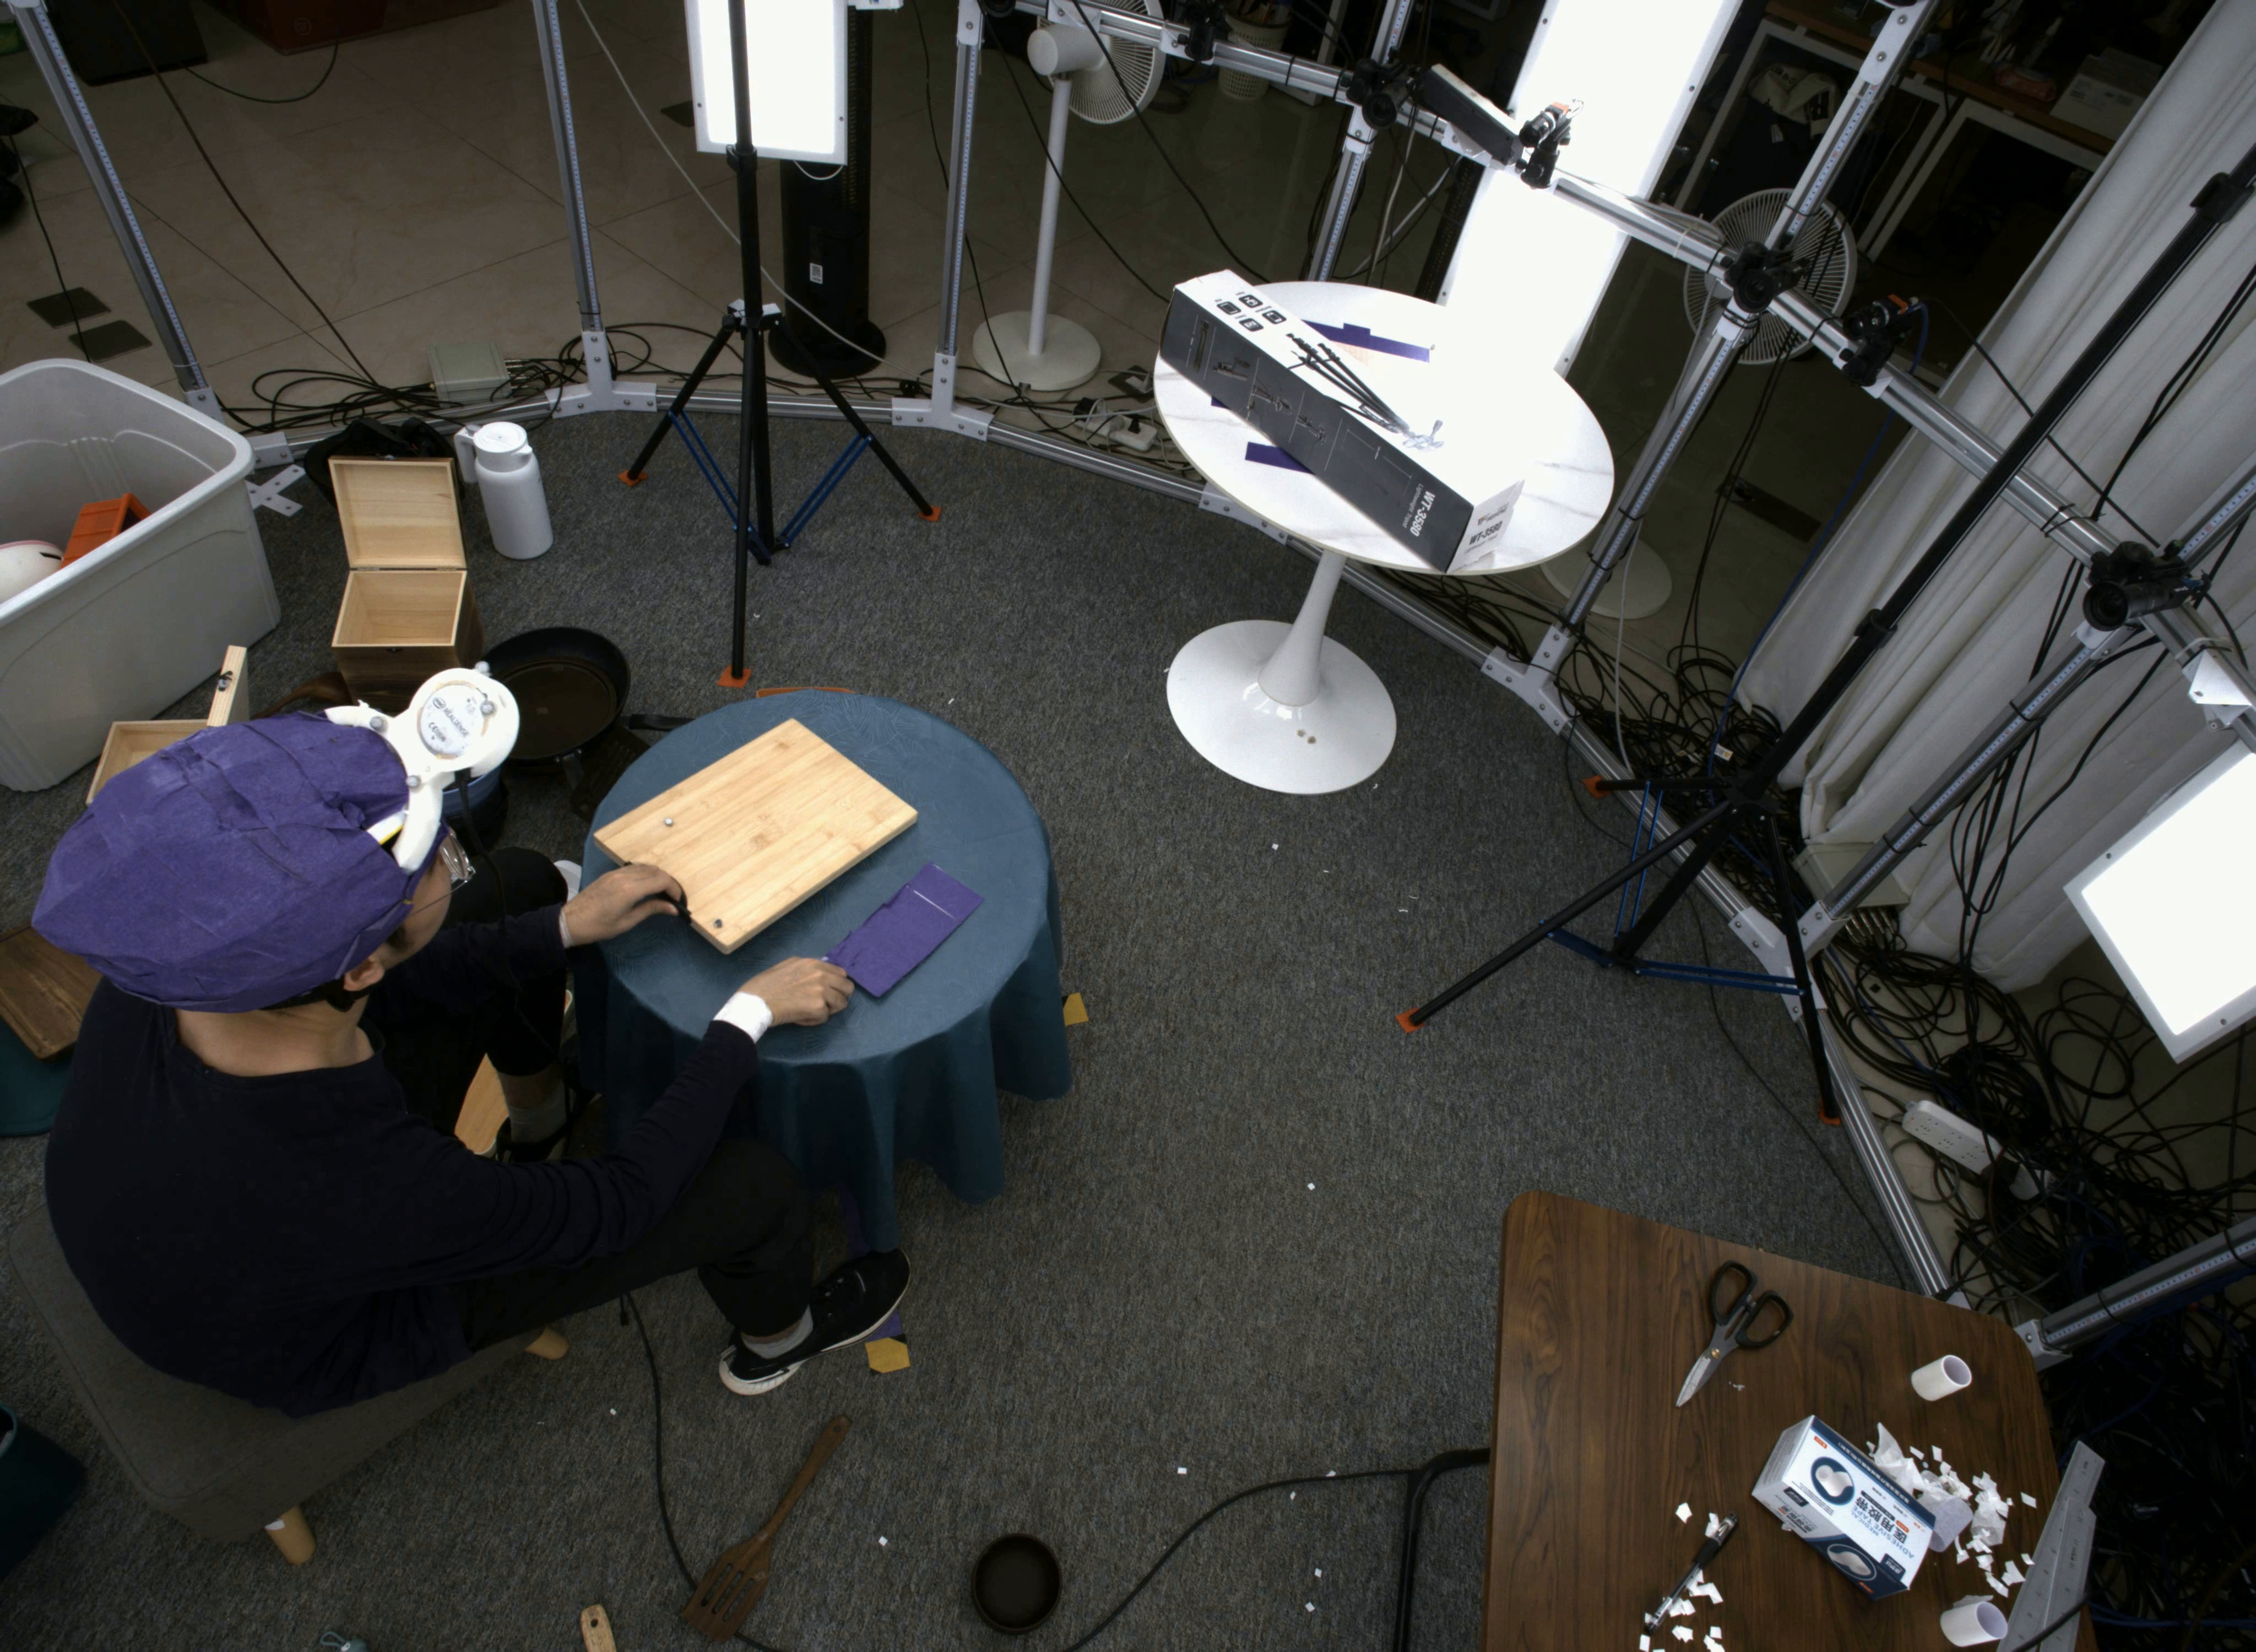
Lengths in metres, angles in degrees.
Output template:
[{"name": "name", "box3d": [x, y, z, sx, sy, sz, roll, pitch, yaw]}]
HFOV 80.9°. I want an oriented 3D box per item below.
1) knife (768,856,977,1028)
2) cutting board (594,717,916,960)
[{"name": "knife", "box3d": [-0.311, 0.152, 1.633, 0.102, 0.033, 0.315, 34, 53, 12]}, {"name": "cutting board", "box3d": [-0.477, 0.004, 1.680, 0.246, 0.024, 0.349, 36, 47, 13]}]
